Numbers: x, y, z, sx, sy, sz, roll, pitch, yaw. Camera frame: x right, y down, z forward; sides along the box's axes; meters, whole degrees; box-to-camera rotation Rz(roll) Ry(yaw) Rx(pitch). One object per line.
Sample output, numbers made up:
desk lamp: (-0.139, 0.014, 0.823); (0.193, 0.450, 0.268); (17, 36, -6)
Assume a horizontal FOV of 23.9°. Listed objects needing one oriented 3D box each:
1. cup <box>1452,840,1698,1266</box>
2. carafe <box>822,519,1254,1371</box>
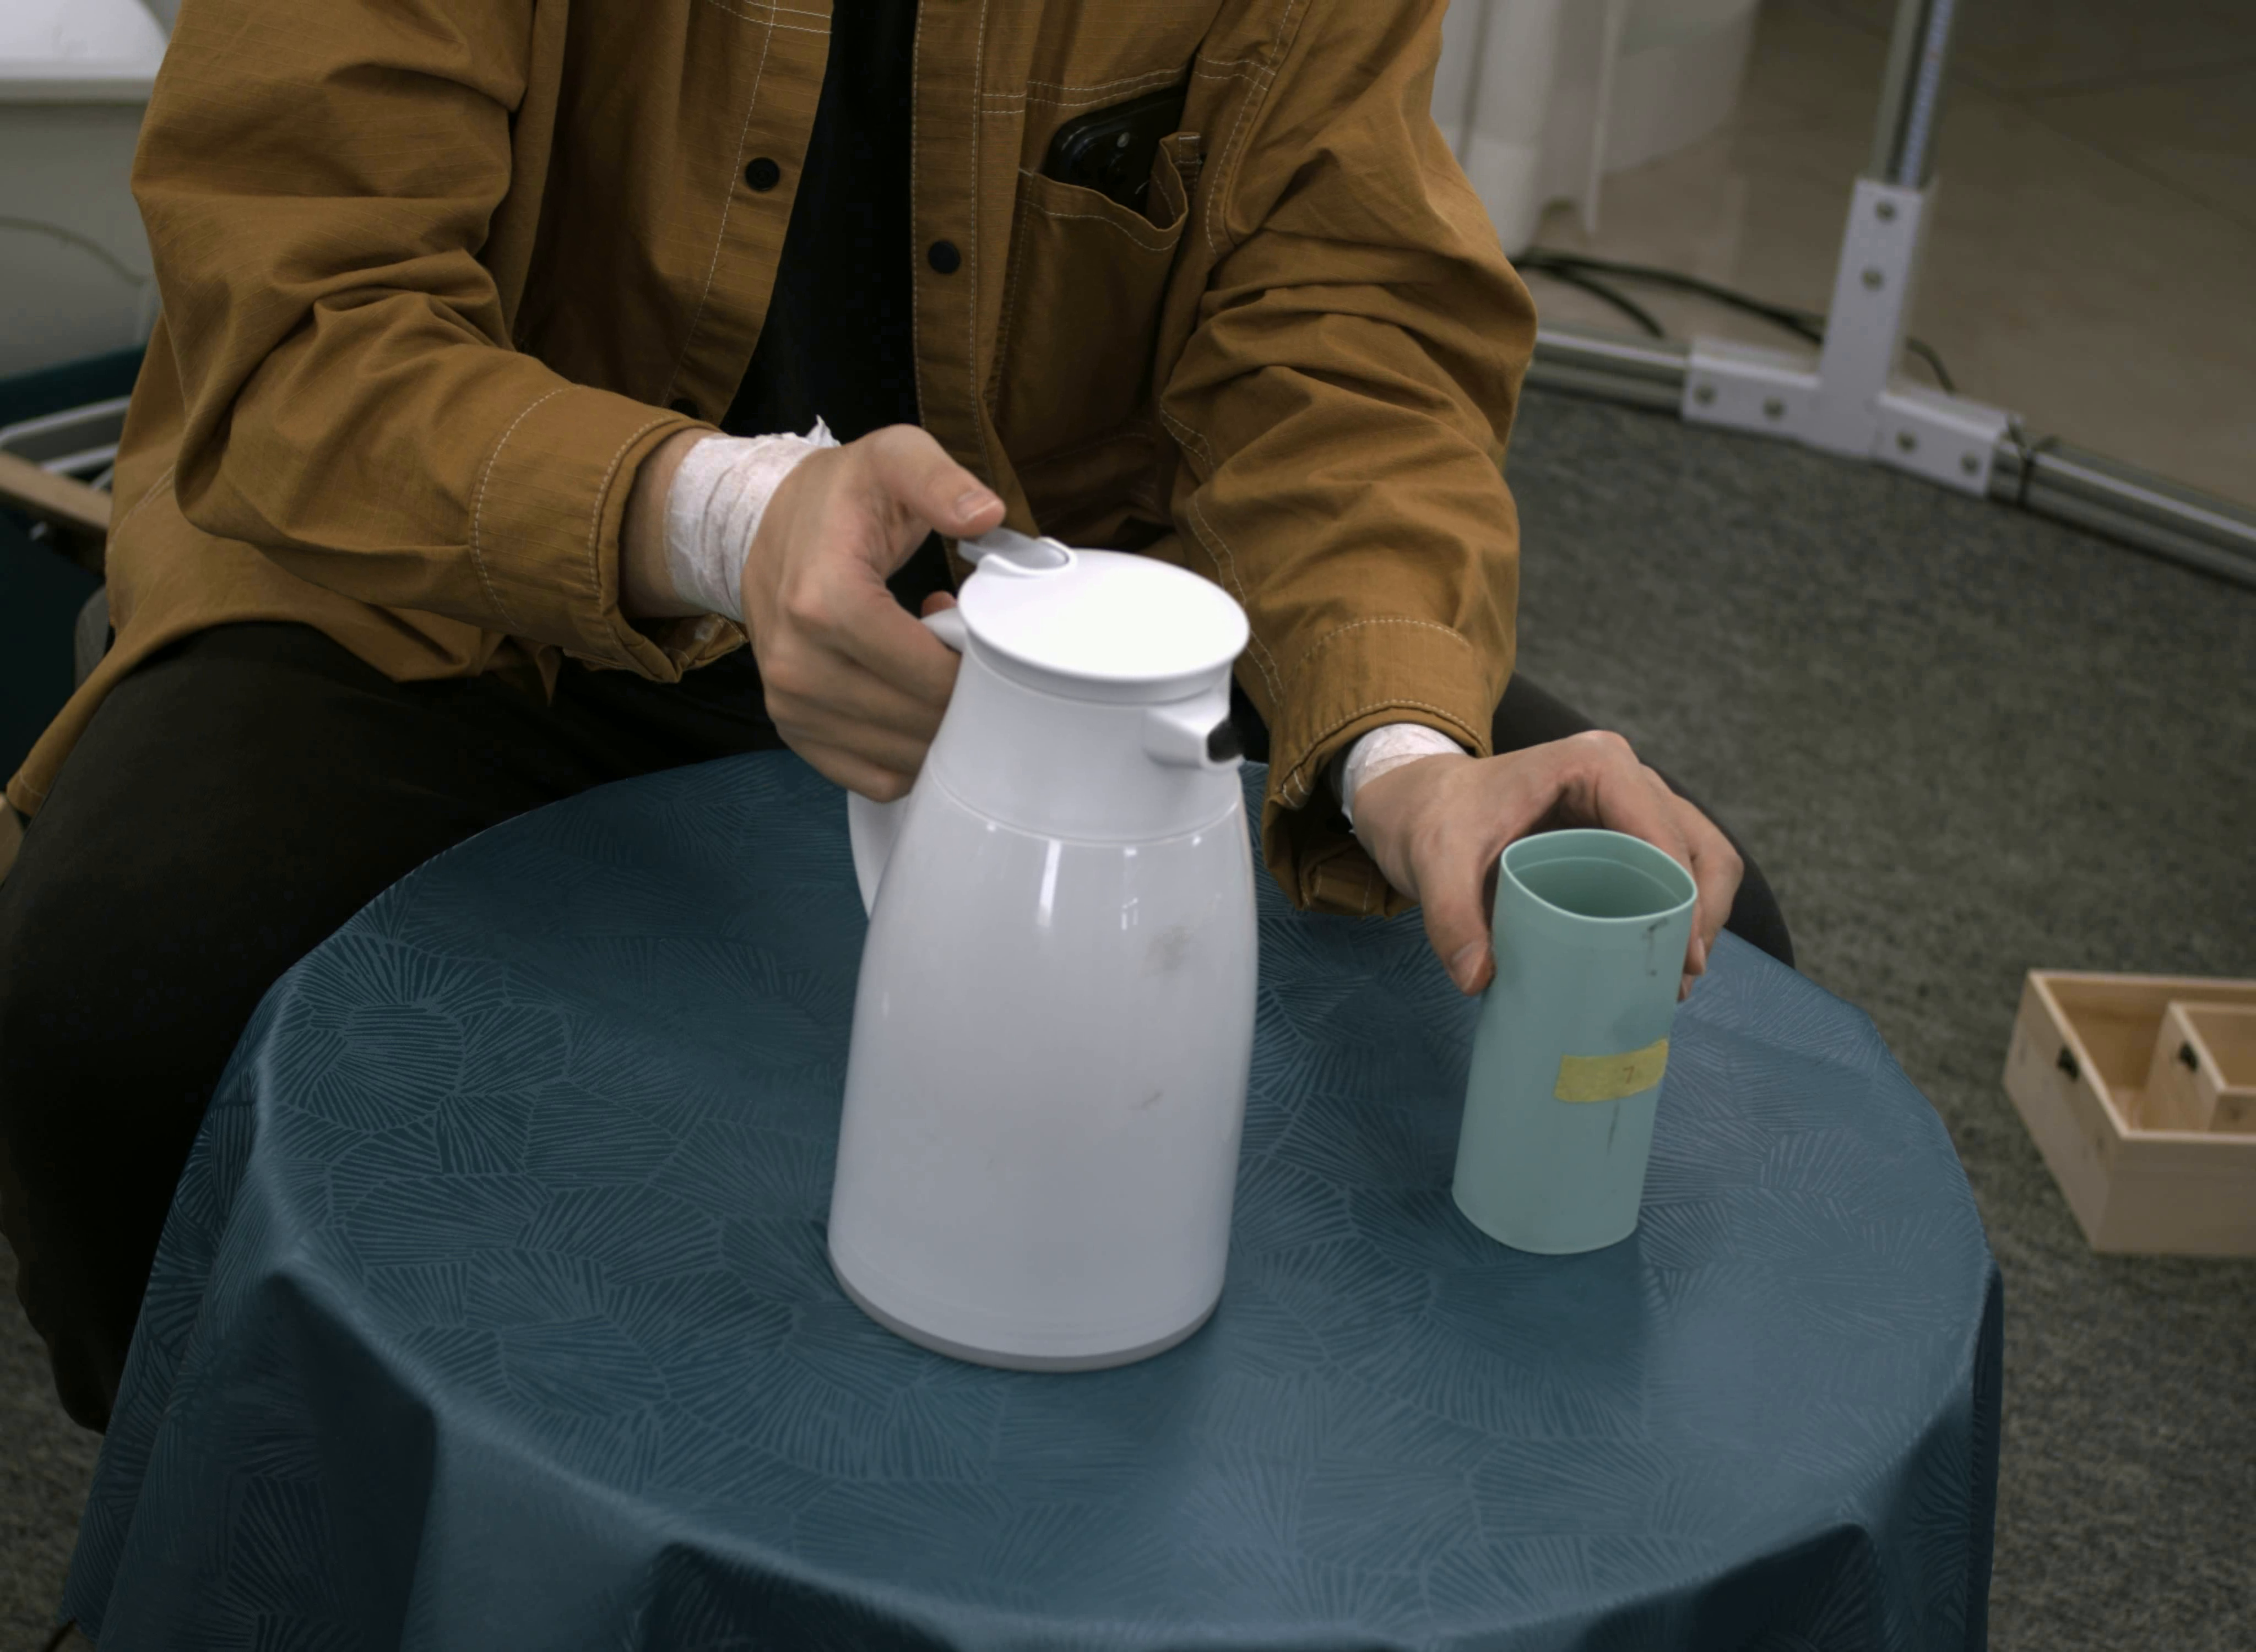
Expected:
cup: (0.149, 0.076, 1.796); (0.066, 0.132, 0.067); (6, 26, -3)
carafe: (-0.035, 0.028, 1.713); (0.132, 0.248, 0.169); (-17, 34, -39)
